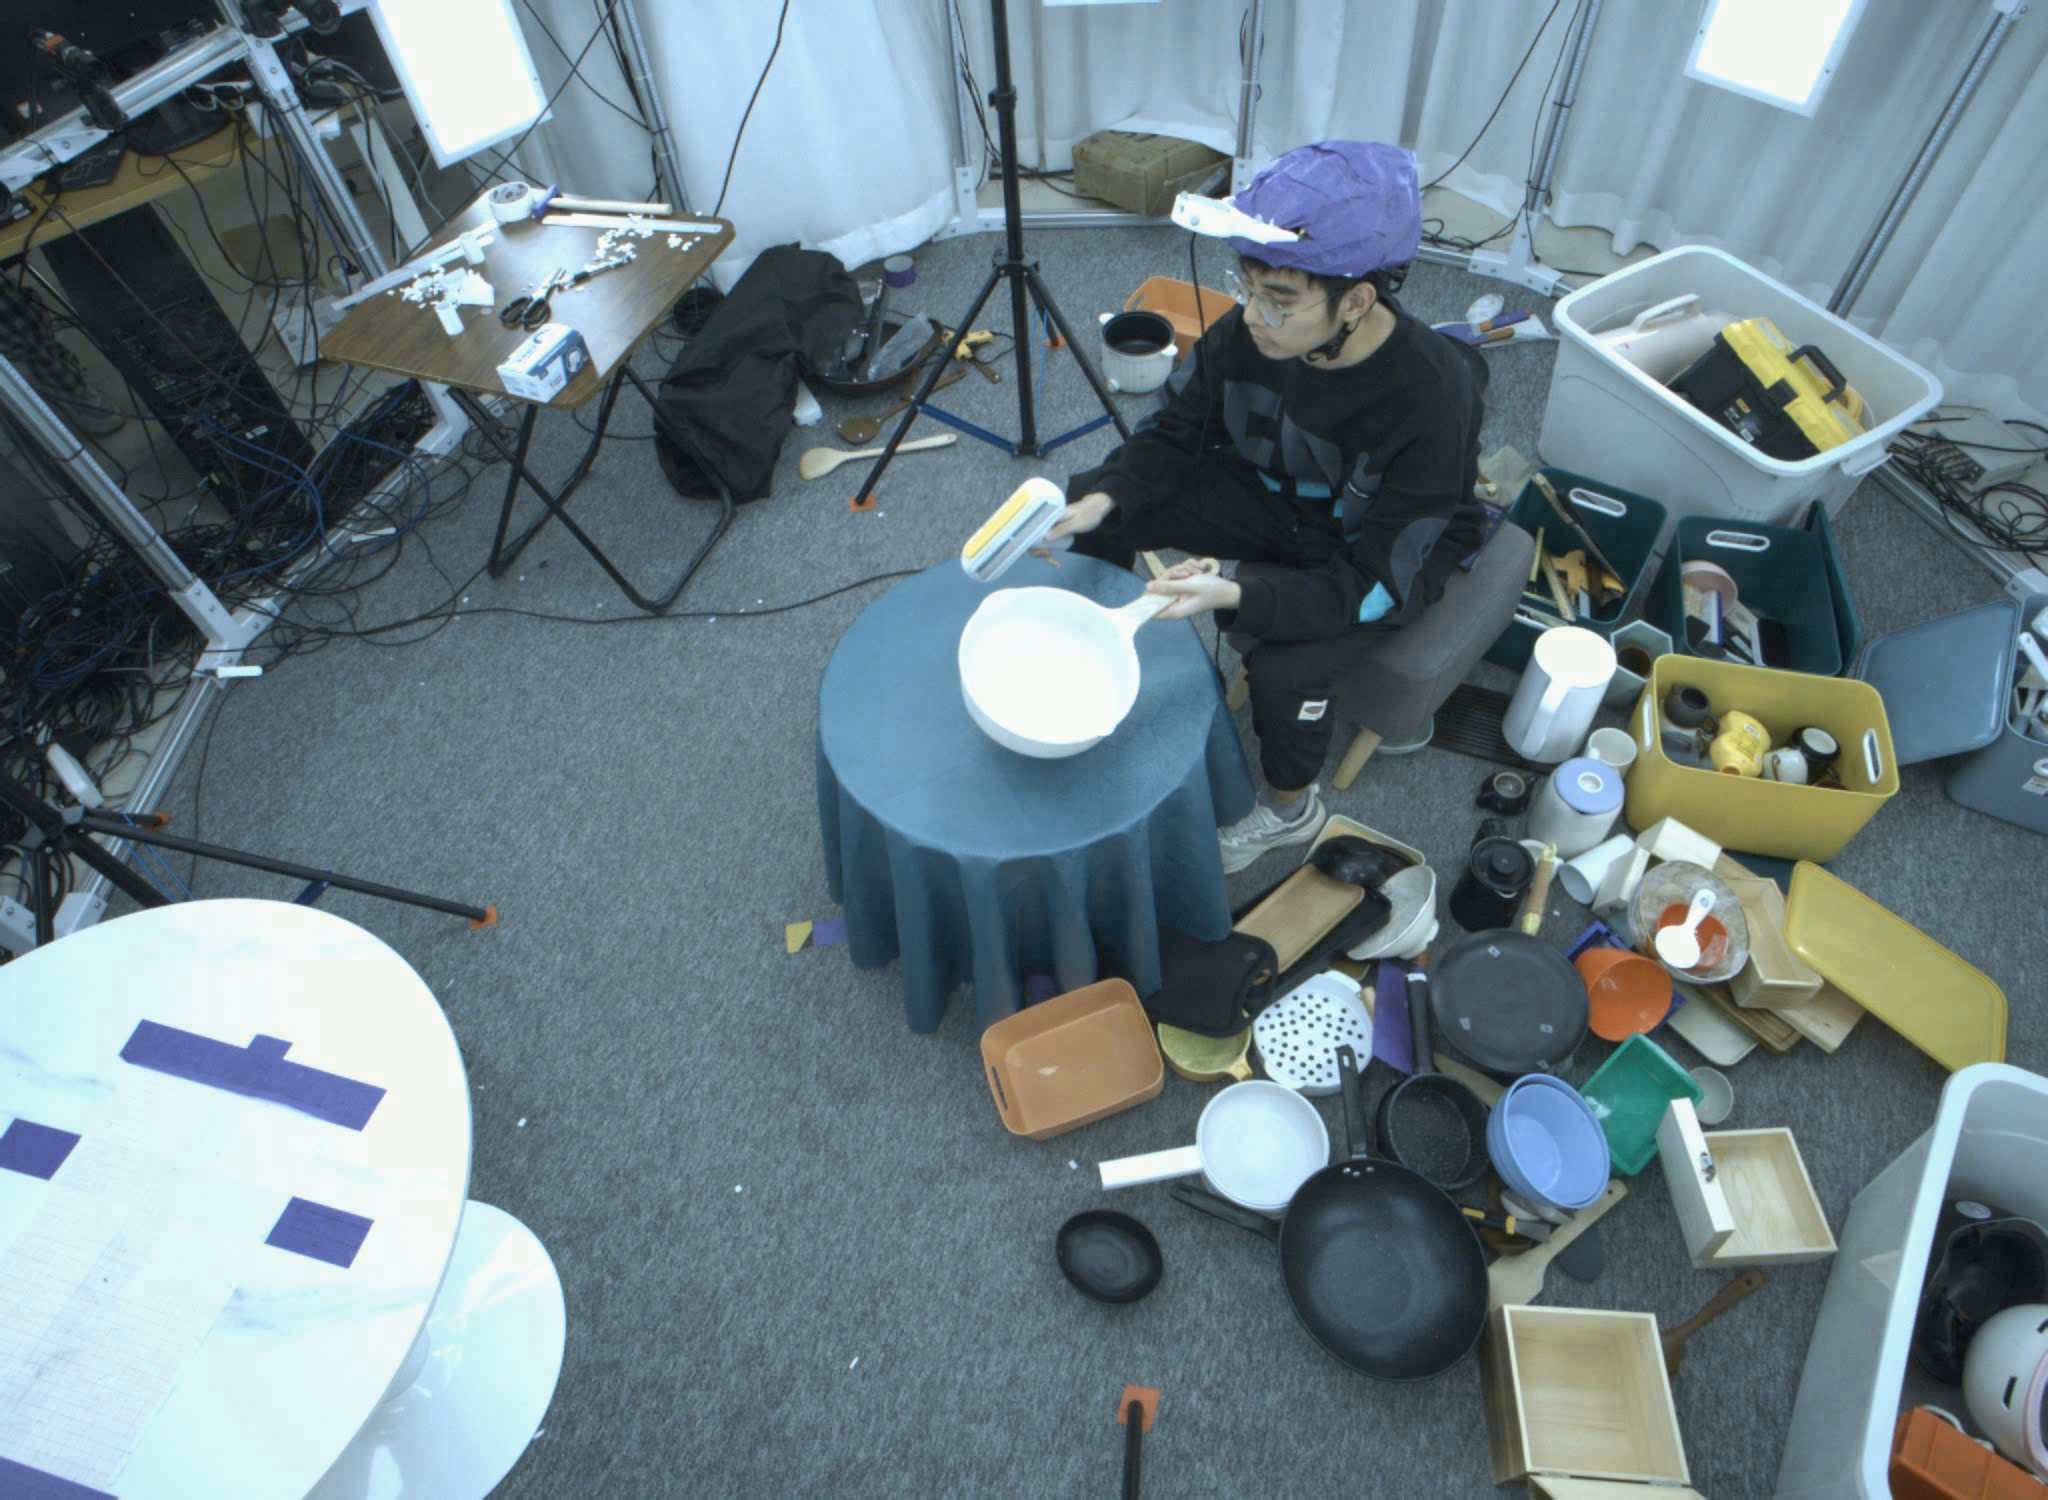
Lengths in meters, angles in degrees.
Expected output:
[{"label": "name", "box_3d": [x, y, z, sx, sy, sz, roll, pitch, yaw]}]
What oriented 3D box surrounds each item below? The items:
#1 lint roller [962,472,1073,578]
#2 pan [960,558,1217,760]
[{"label": "lint roller", "box_3d": [0.018, -0.327, 1.859, 0.192, 0.197, 0.073, -44, 57, 22]}, {"label": "pan", "box_3d": [0.104, -0.145, 1.735, 0.439, 0.102, 0.260, -32, 72, -26]}]
